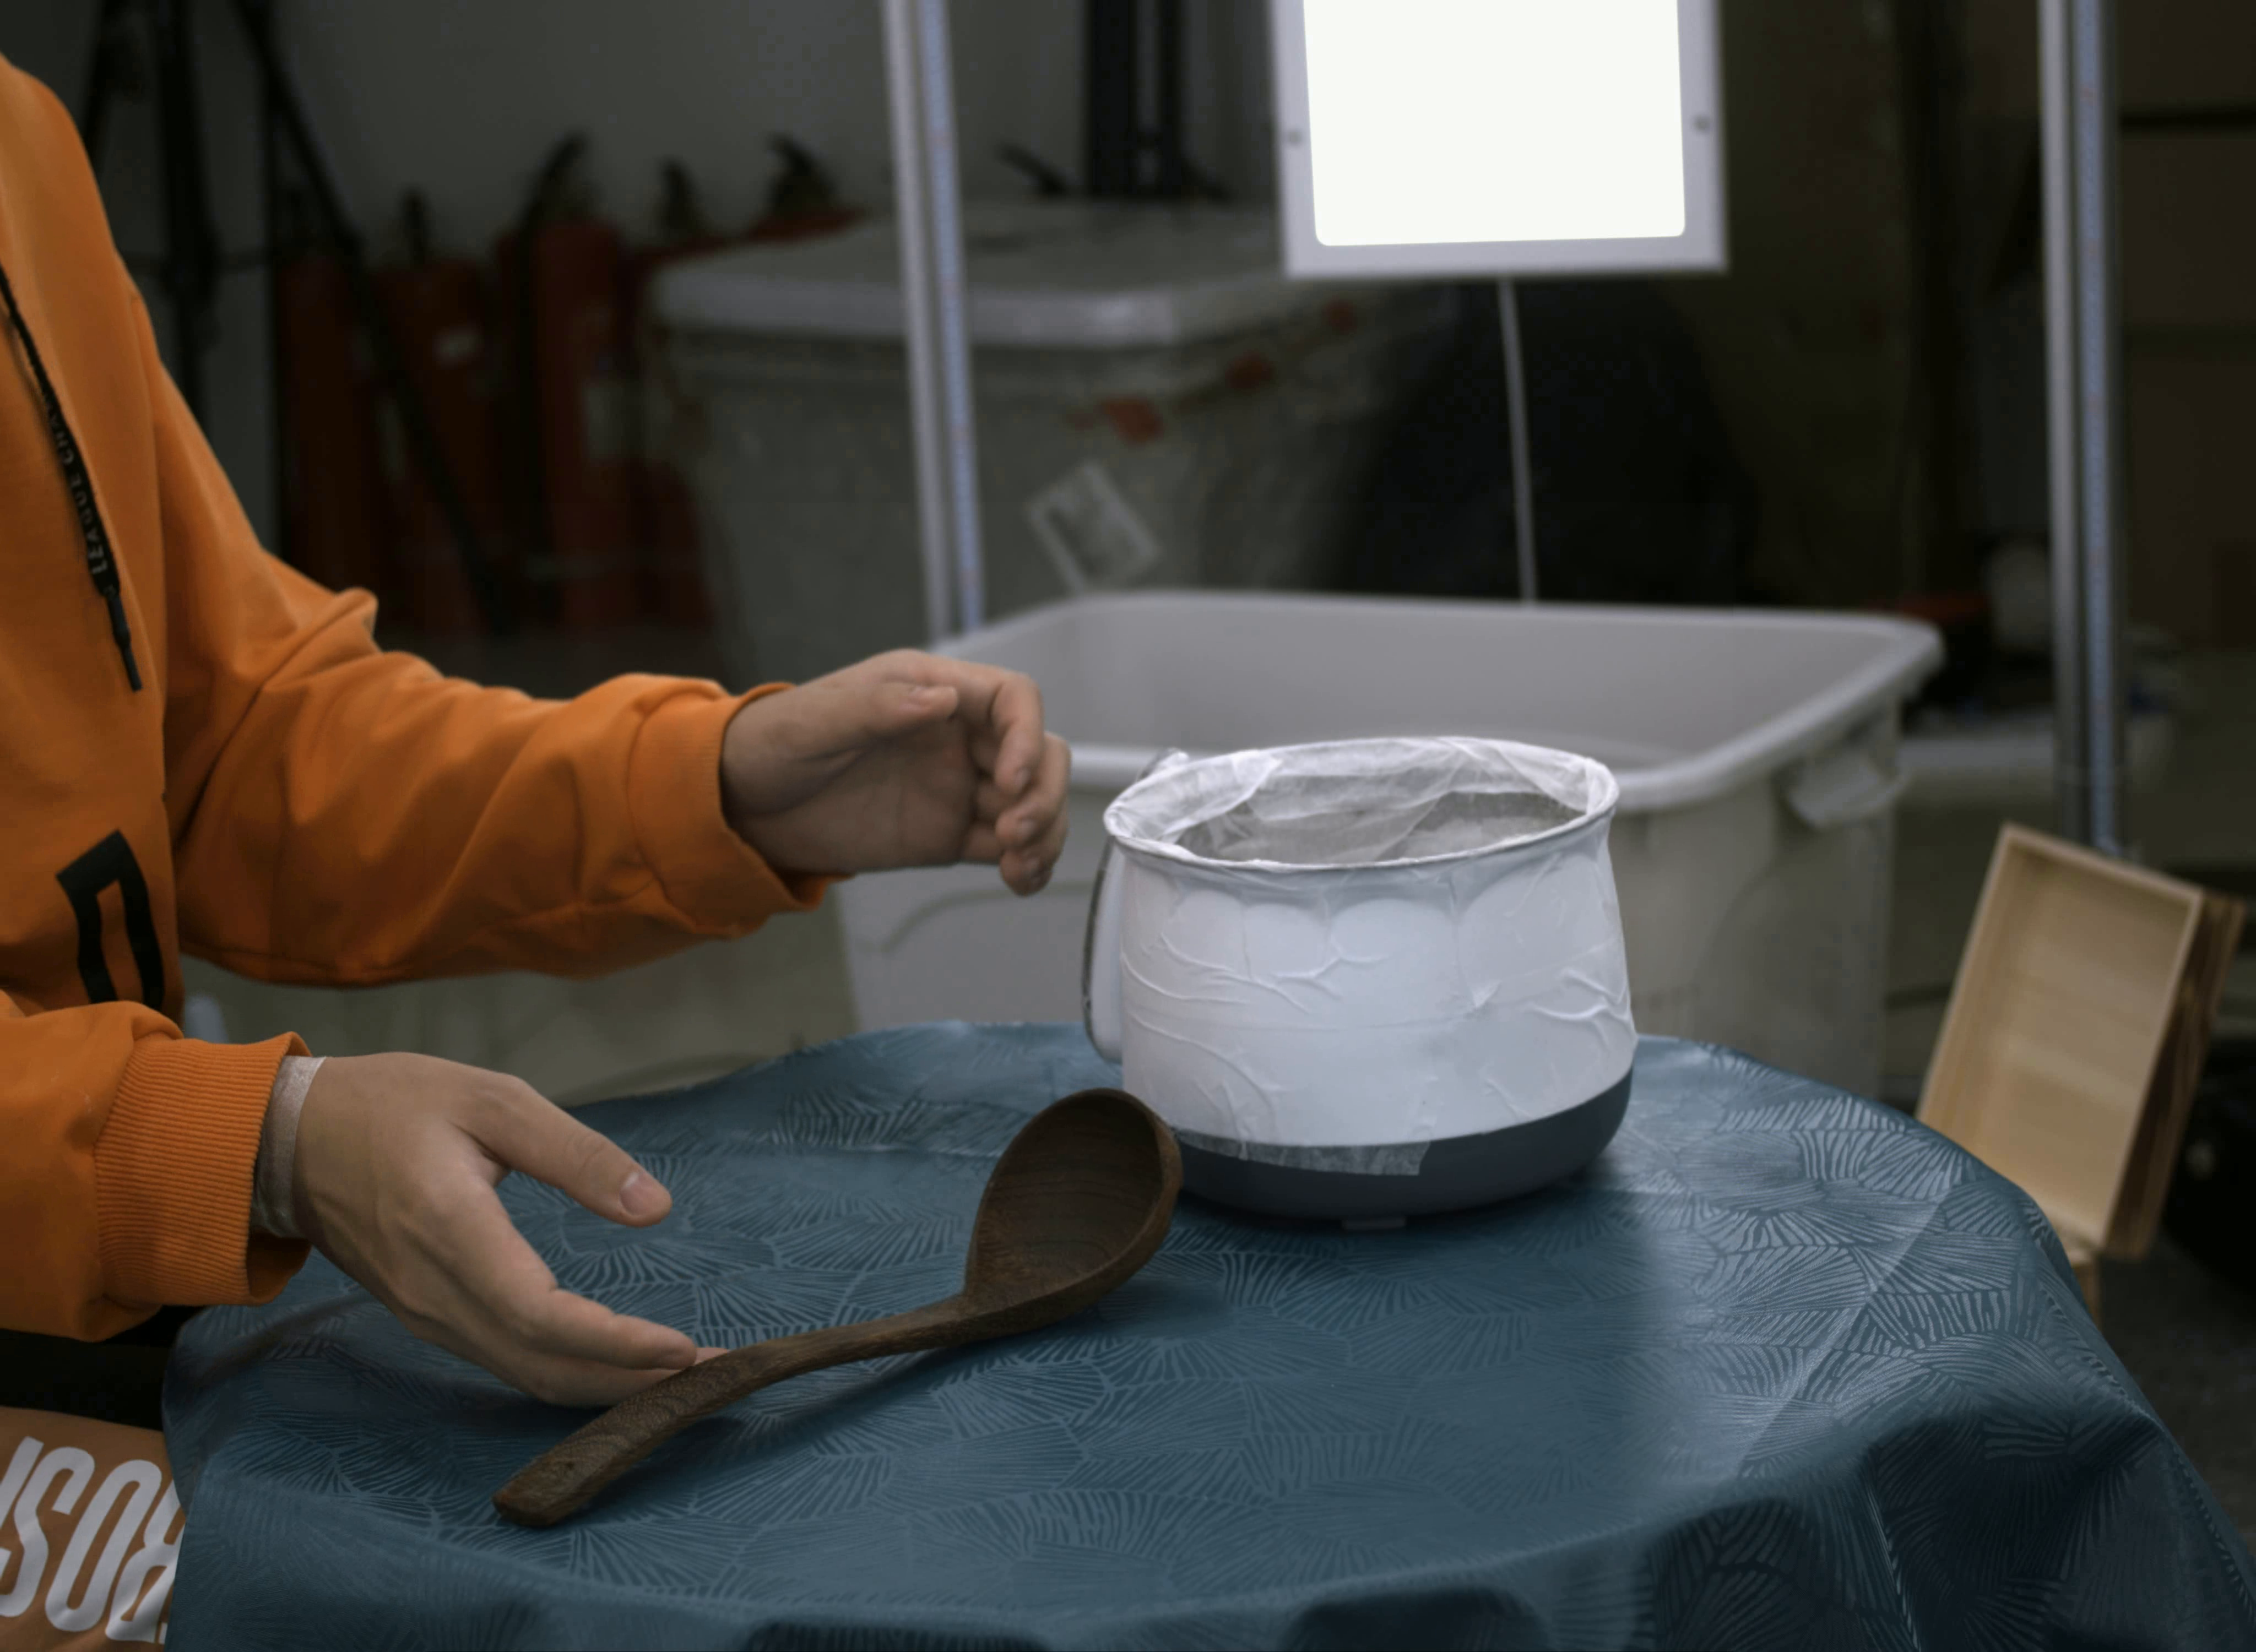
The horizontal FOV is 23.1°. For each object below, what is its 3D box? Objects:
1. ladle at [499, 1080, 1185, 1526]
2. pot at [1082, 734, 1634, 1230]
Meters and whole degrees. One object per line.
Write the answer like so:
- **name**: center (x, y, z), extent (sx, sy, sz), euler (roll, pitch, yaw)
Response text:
- **ladle**: center (-0.089, 0.144, 1.713), extent (0.267, 0.071, 0.078), euler (-17, 15, -42)
- **pot**: center (0.066, 0.048, 1.905), extent (0.174, 0.137, 0.238), euler (-15, 18, -38)
